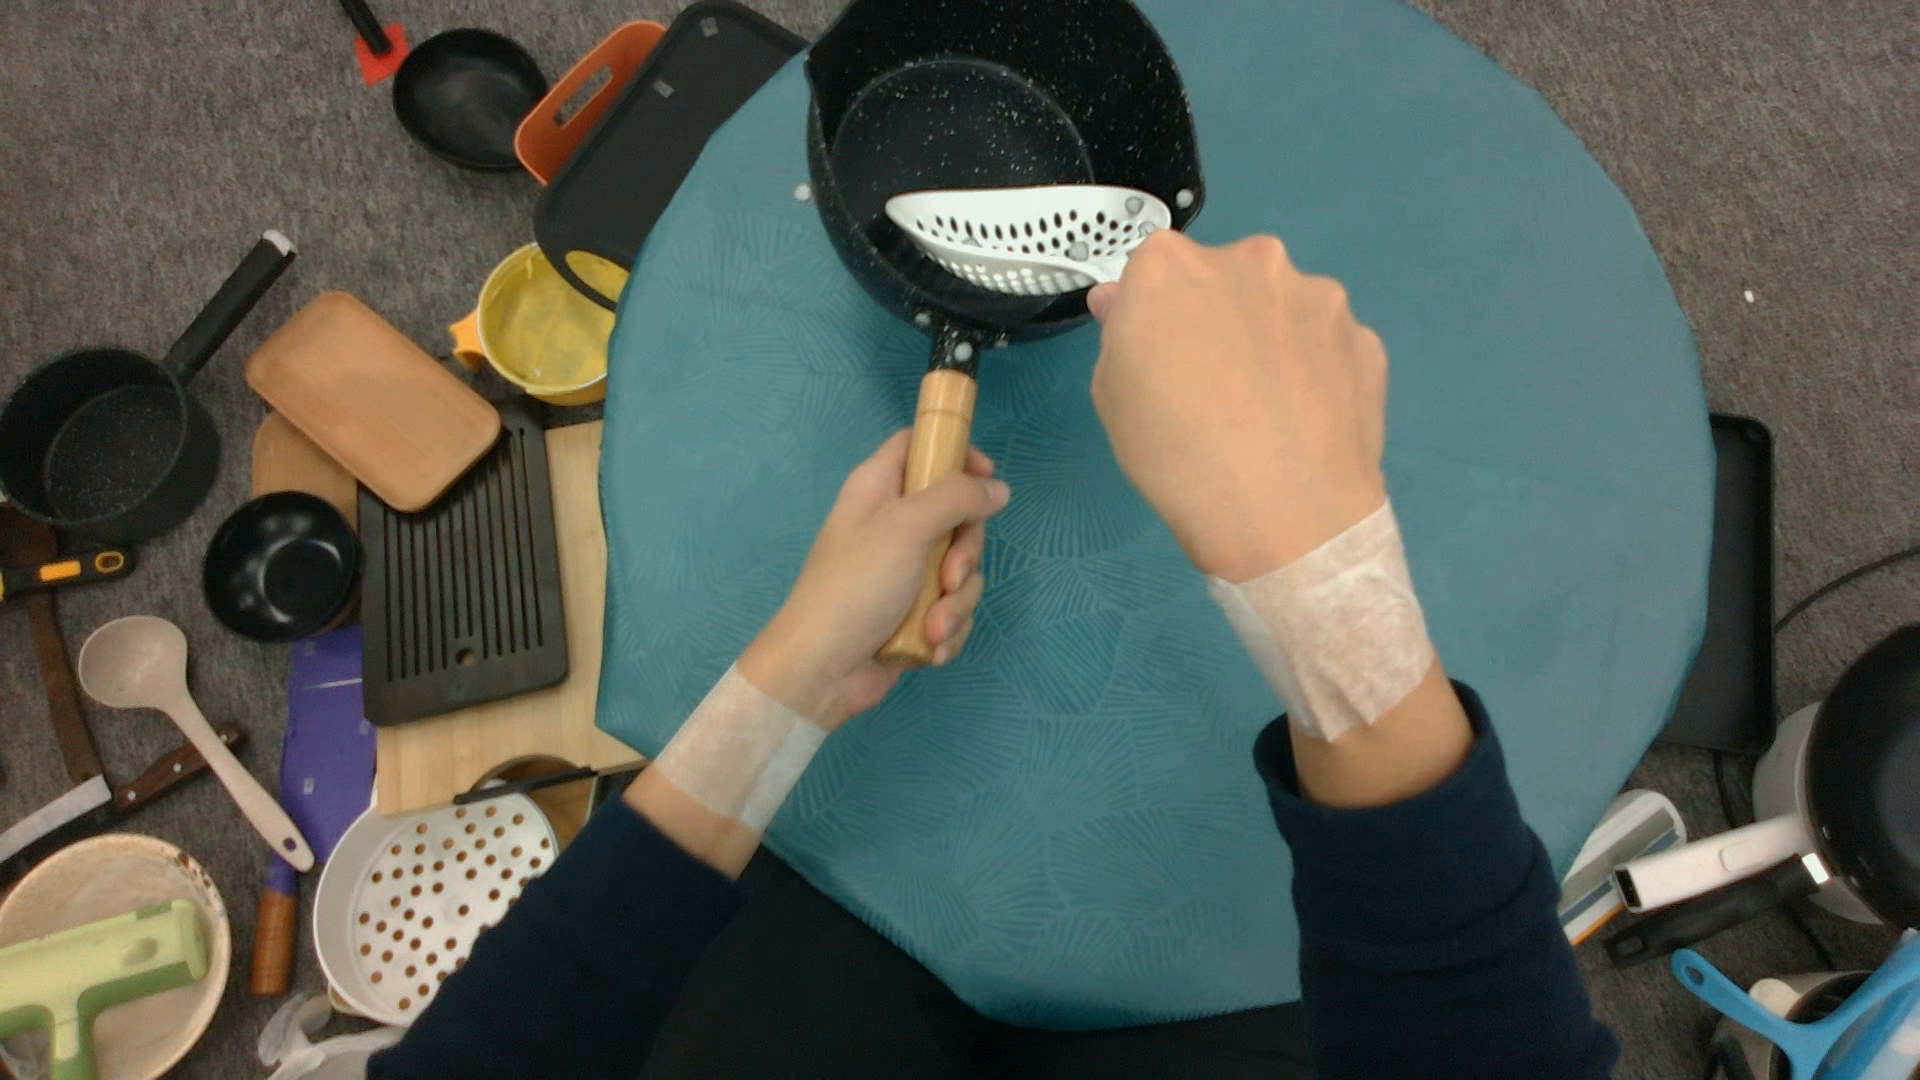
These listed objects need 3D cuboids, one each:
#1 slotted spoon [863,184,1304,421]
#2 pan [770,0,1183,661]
[{"bbox_3d":[0.049,-0.110,0.563,0.137,0.348,0.050,-6,108,-12],"label":"slotted spoon"},{"bbox_3d":[-0.009,-0.108,0.651,0.207,0.108,0.343,13,79,-16],"label":"pan"}]
